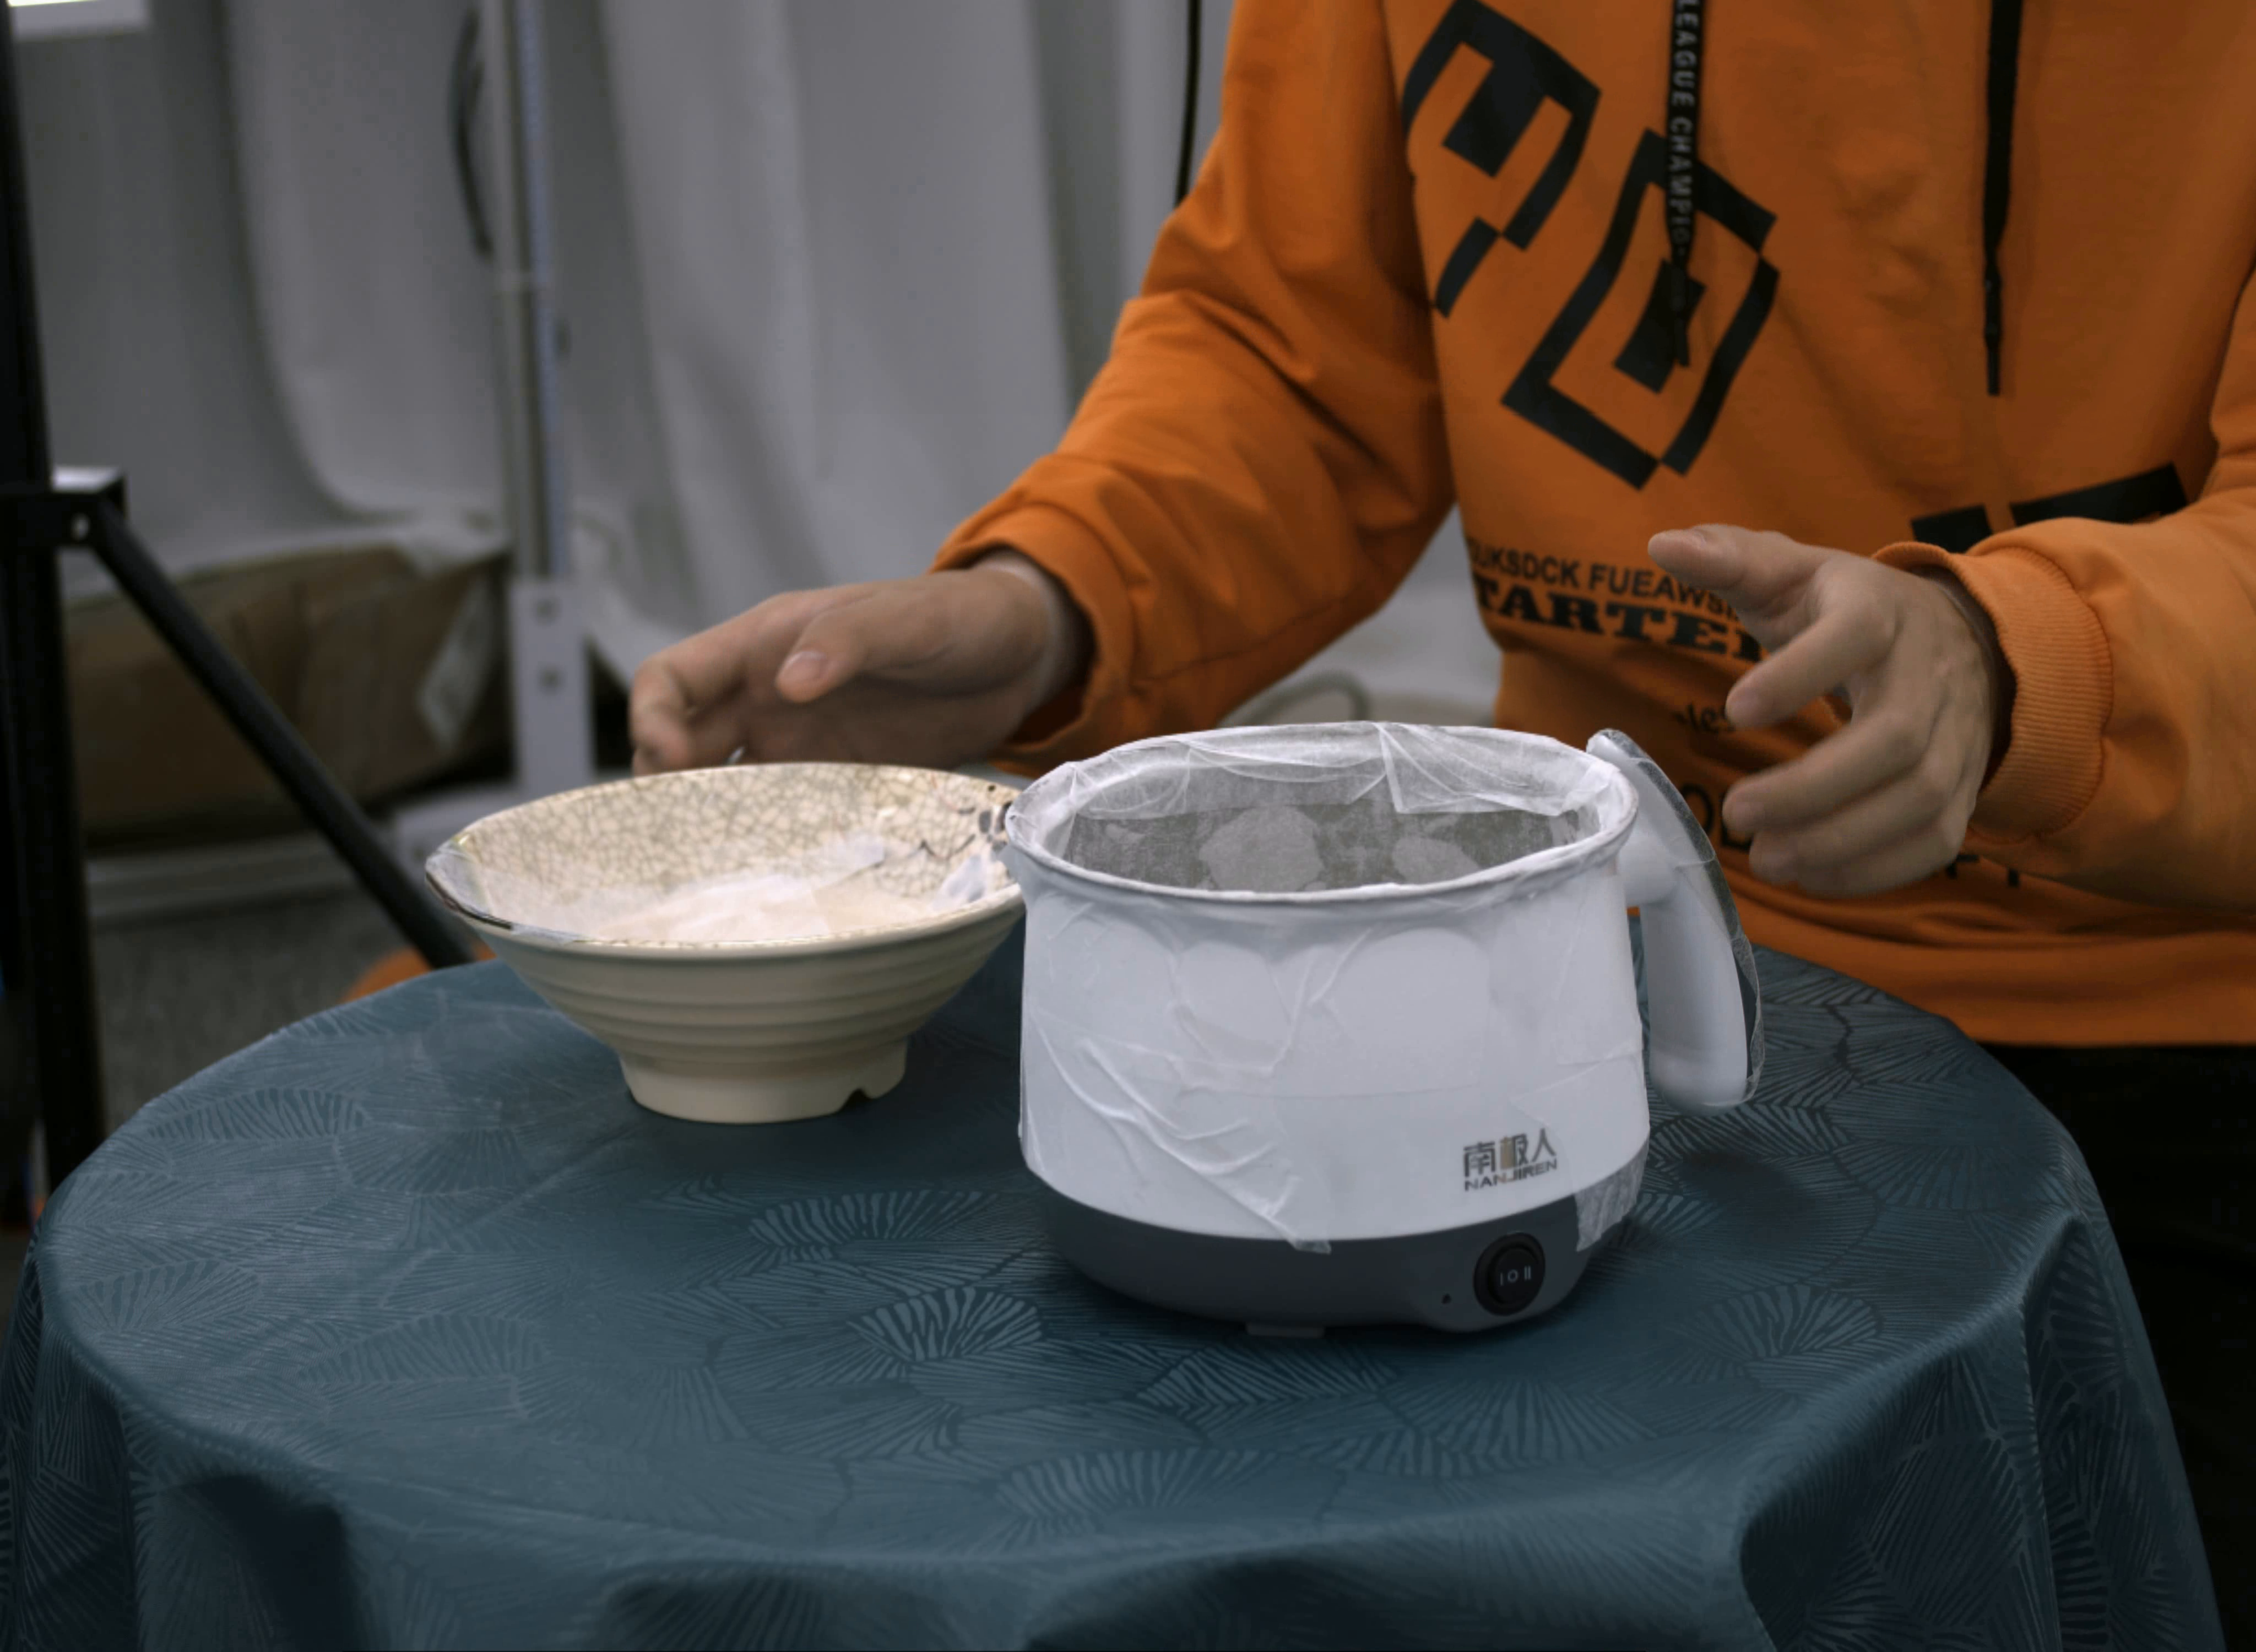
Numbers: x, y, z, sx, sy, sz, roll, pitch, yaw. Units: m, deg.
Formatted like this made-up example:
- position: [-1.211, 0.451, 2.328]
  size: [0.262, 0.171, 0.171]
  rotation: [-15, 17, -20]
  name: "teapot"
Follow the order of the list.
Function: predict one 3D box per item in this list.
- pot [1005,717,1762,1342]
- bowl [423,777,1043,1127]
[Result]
- position: [0.079, 0.050, 1.498]
  size: [0.228, 0.136, 0.183]
  rotation: [-12, 19, -30]
  name: "pot"
- position: [-0.117, 0.045, 1.665]
  size: [0.203, 0.078, 0.205]
  rotation: [-2, 13, -1]
  name: "bowl"
